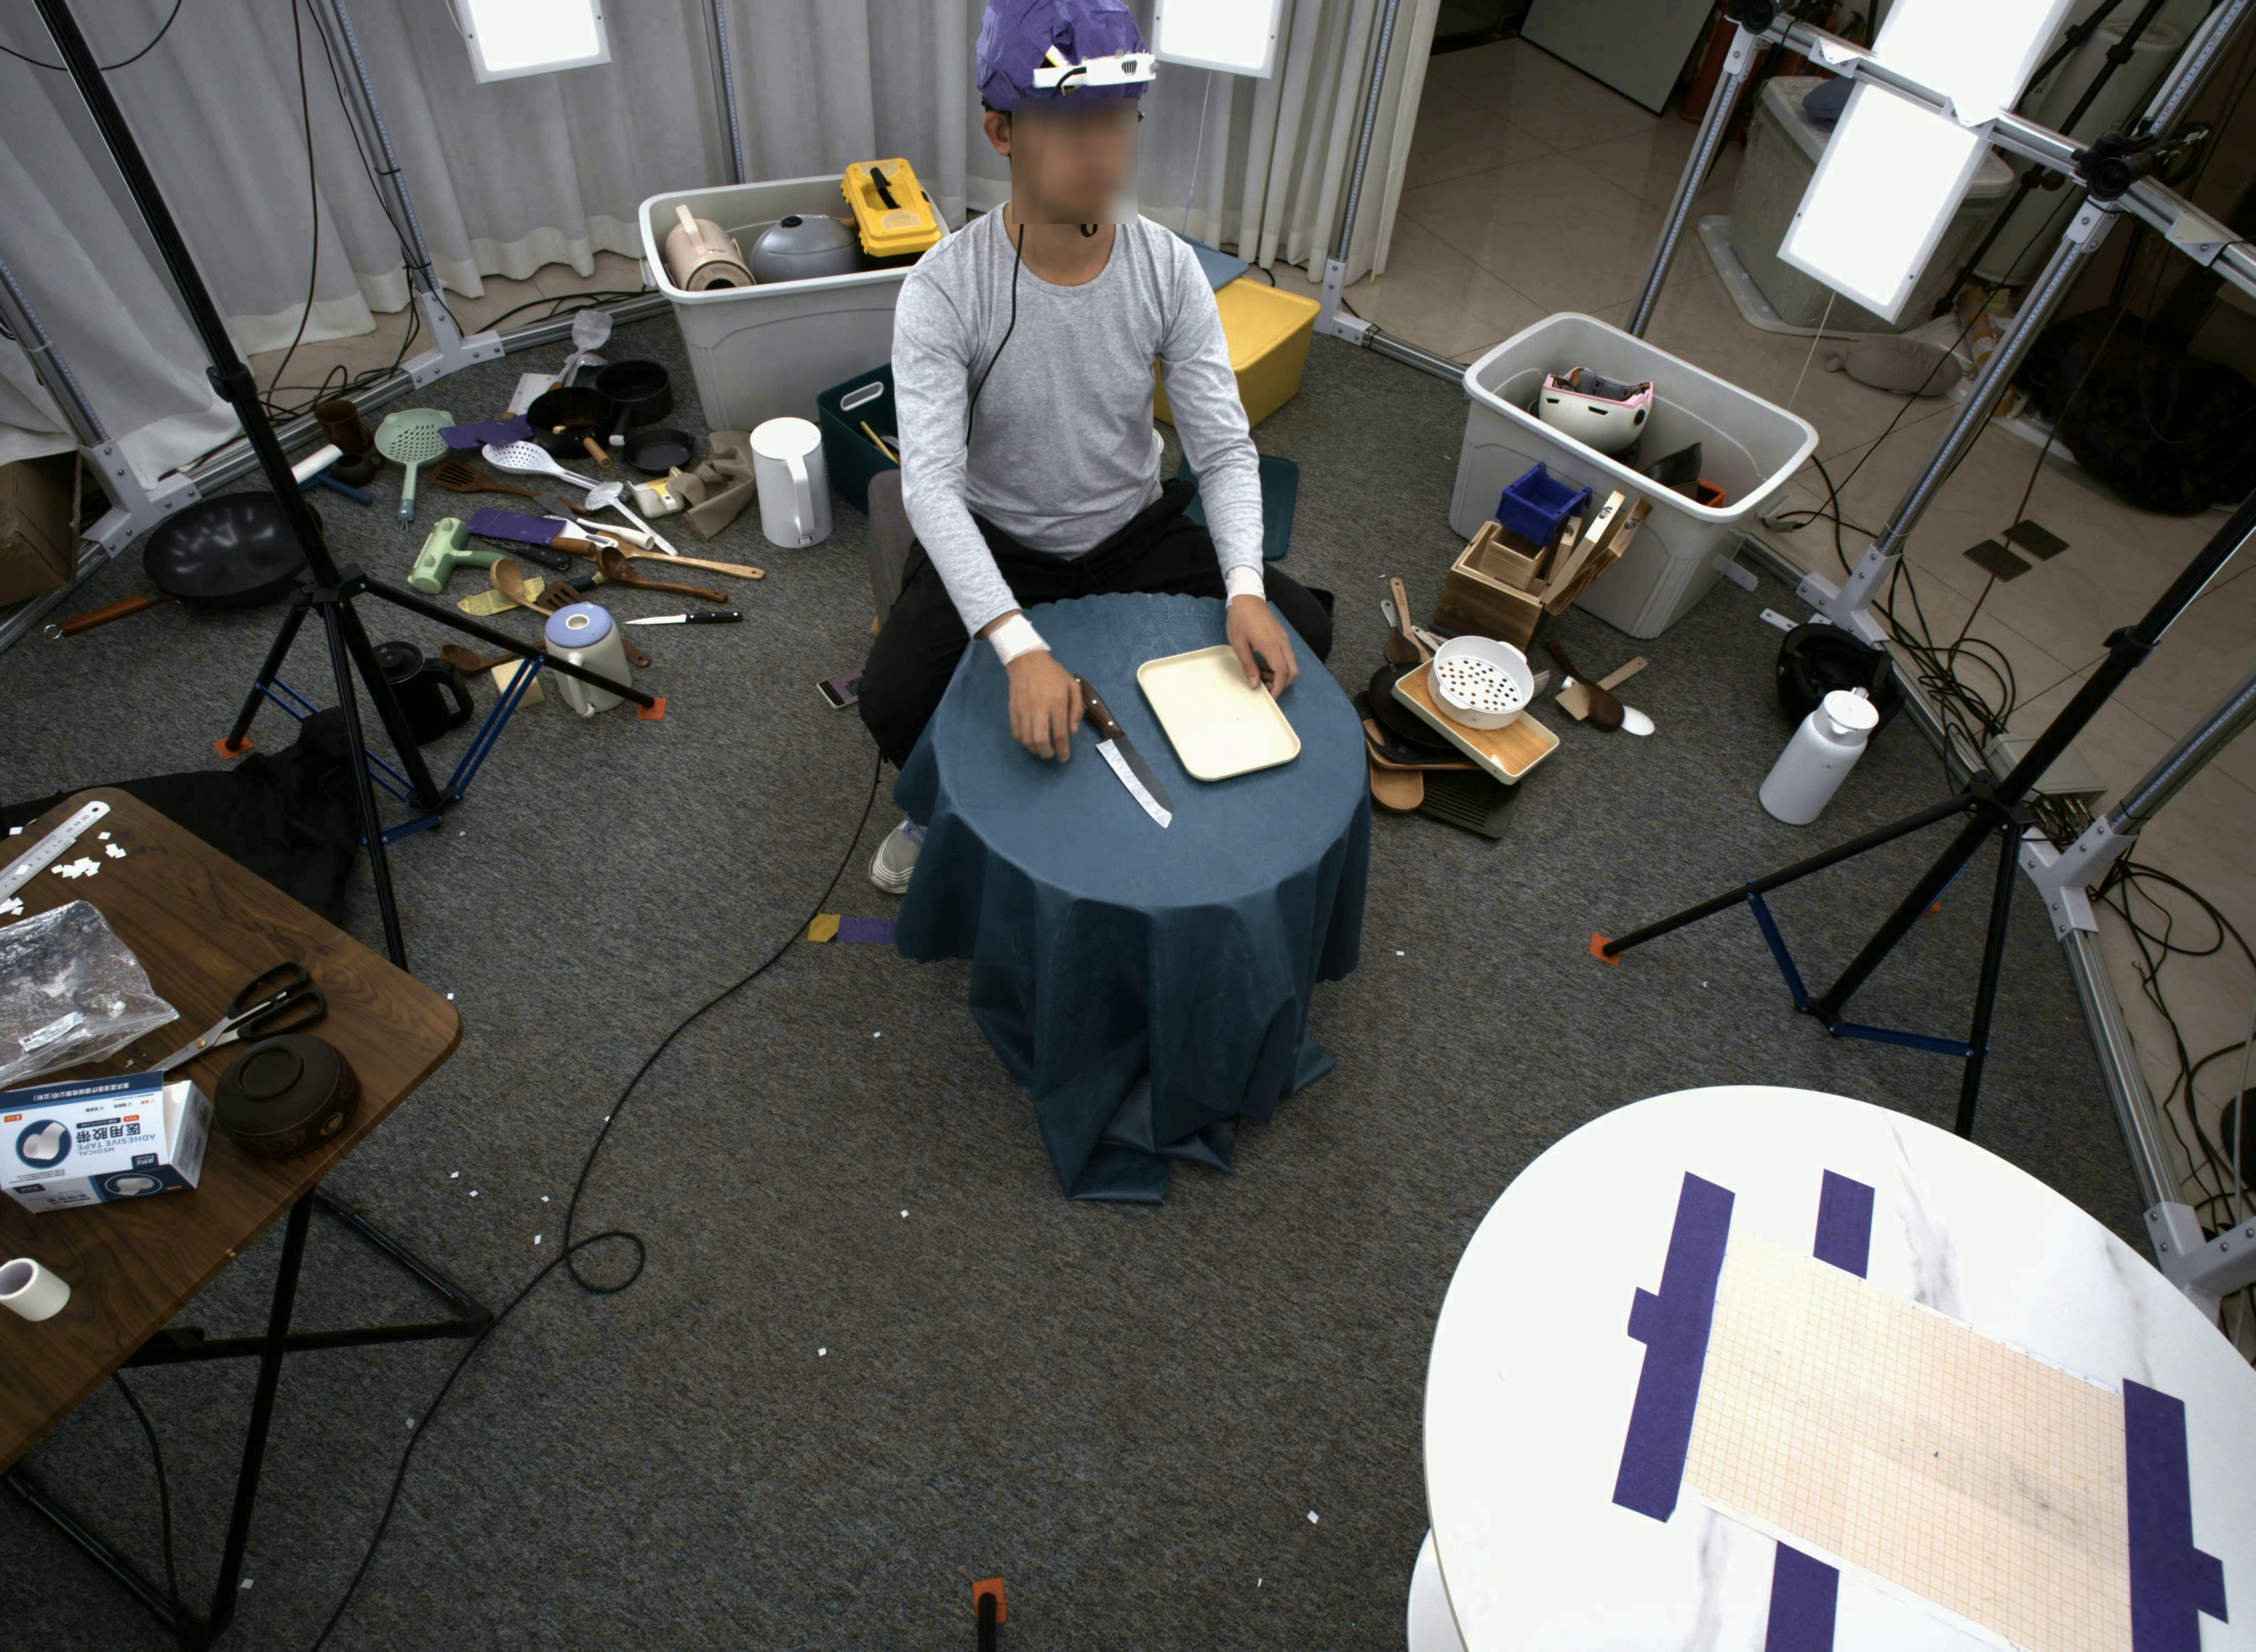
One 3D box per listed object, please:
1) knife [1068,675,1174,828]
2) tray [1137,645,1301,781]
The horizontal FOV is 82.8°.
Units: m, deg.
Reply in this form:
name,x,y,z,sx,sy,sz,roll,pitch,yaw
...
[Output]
name,x,y,z,sx,sy,sz,roll,pitch,yaw
knife,-0.012,-0.104,1.748,0.050,0.019,0.295,-22,56,-15
tray,0.125,-0.161,1.804,0.171,0.017,0.245,-13,51,-16
